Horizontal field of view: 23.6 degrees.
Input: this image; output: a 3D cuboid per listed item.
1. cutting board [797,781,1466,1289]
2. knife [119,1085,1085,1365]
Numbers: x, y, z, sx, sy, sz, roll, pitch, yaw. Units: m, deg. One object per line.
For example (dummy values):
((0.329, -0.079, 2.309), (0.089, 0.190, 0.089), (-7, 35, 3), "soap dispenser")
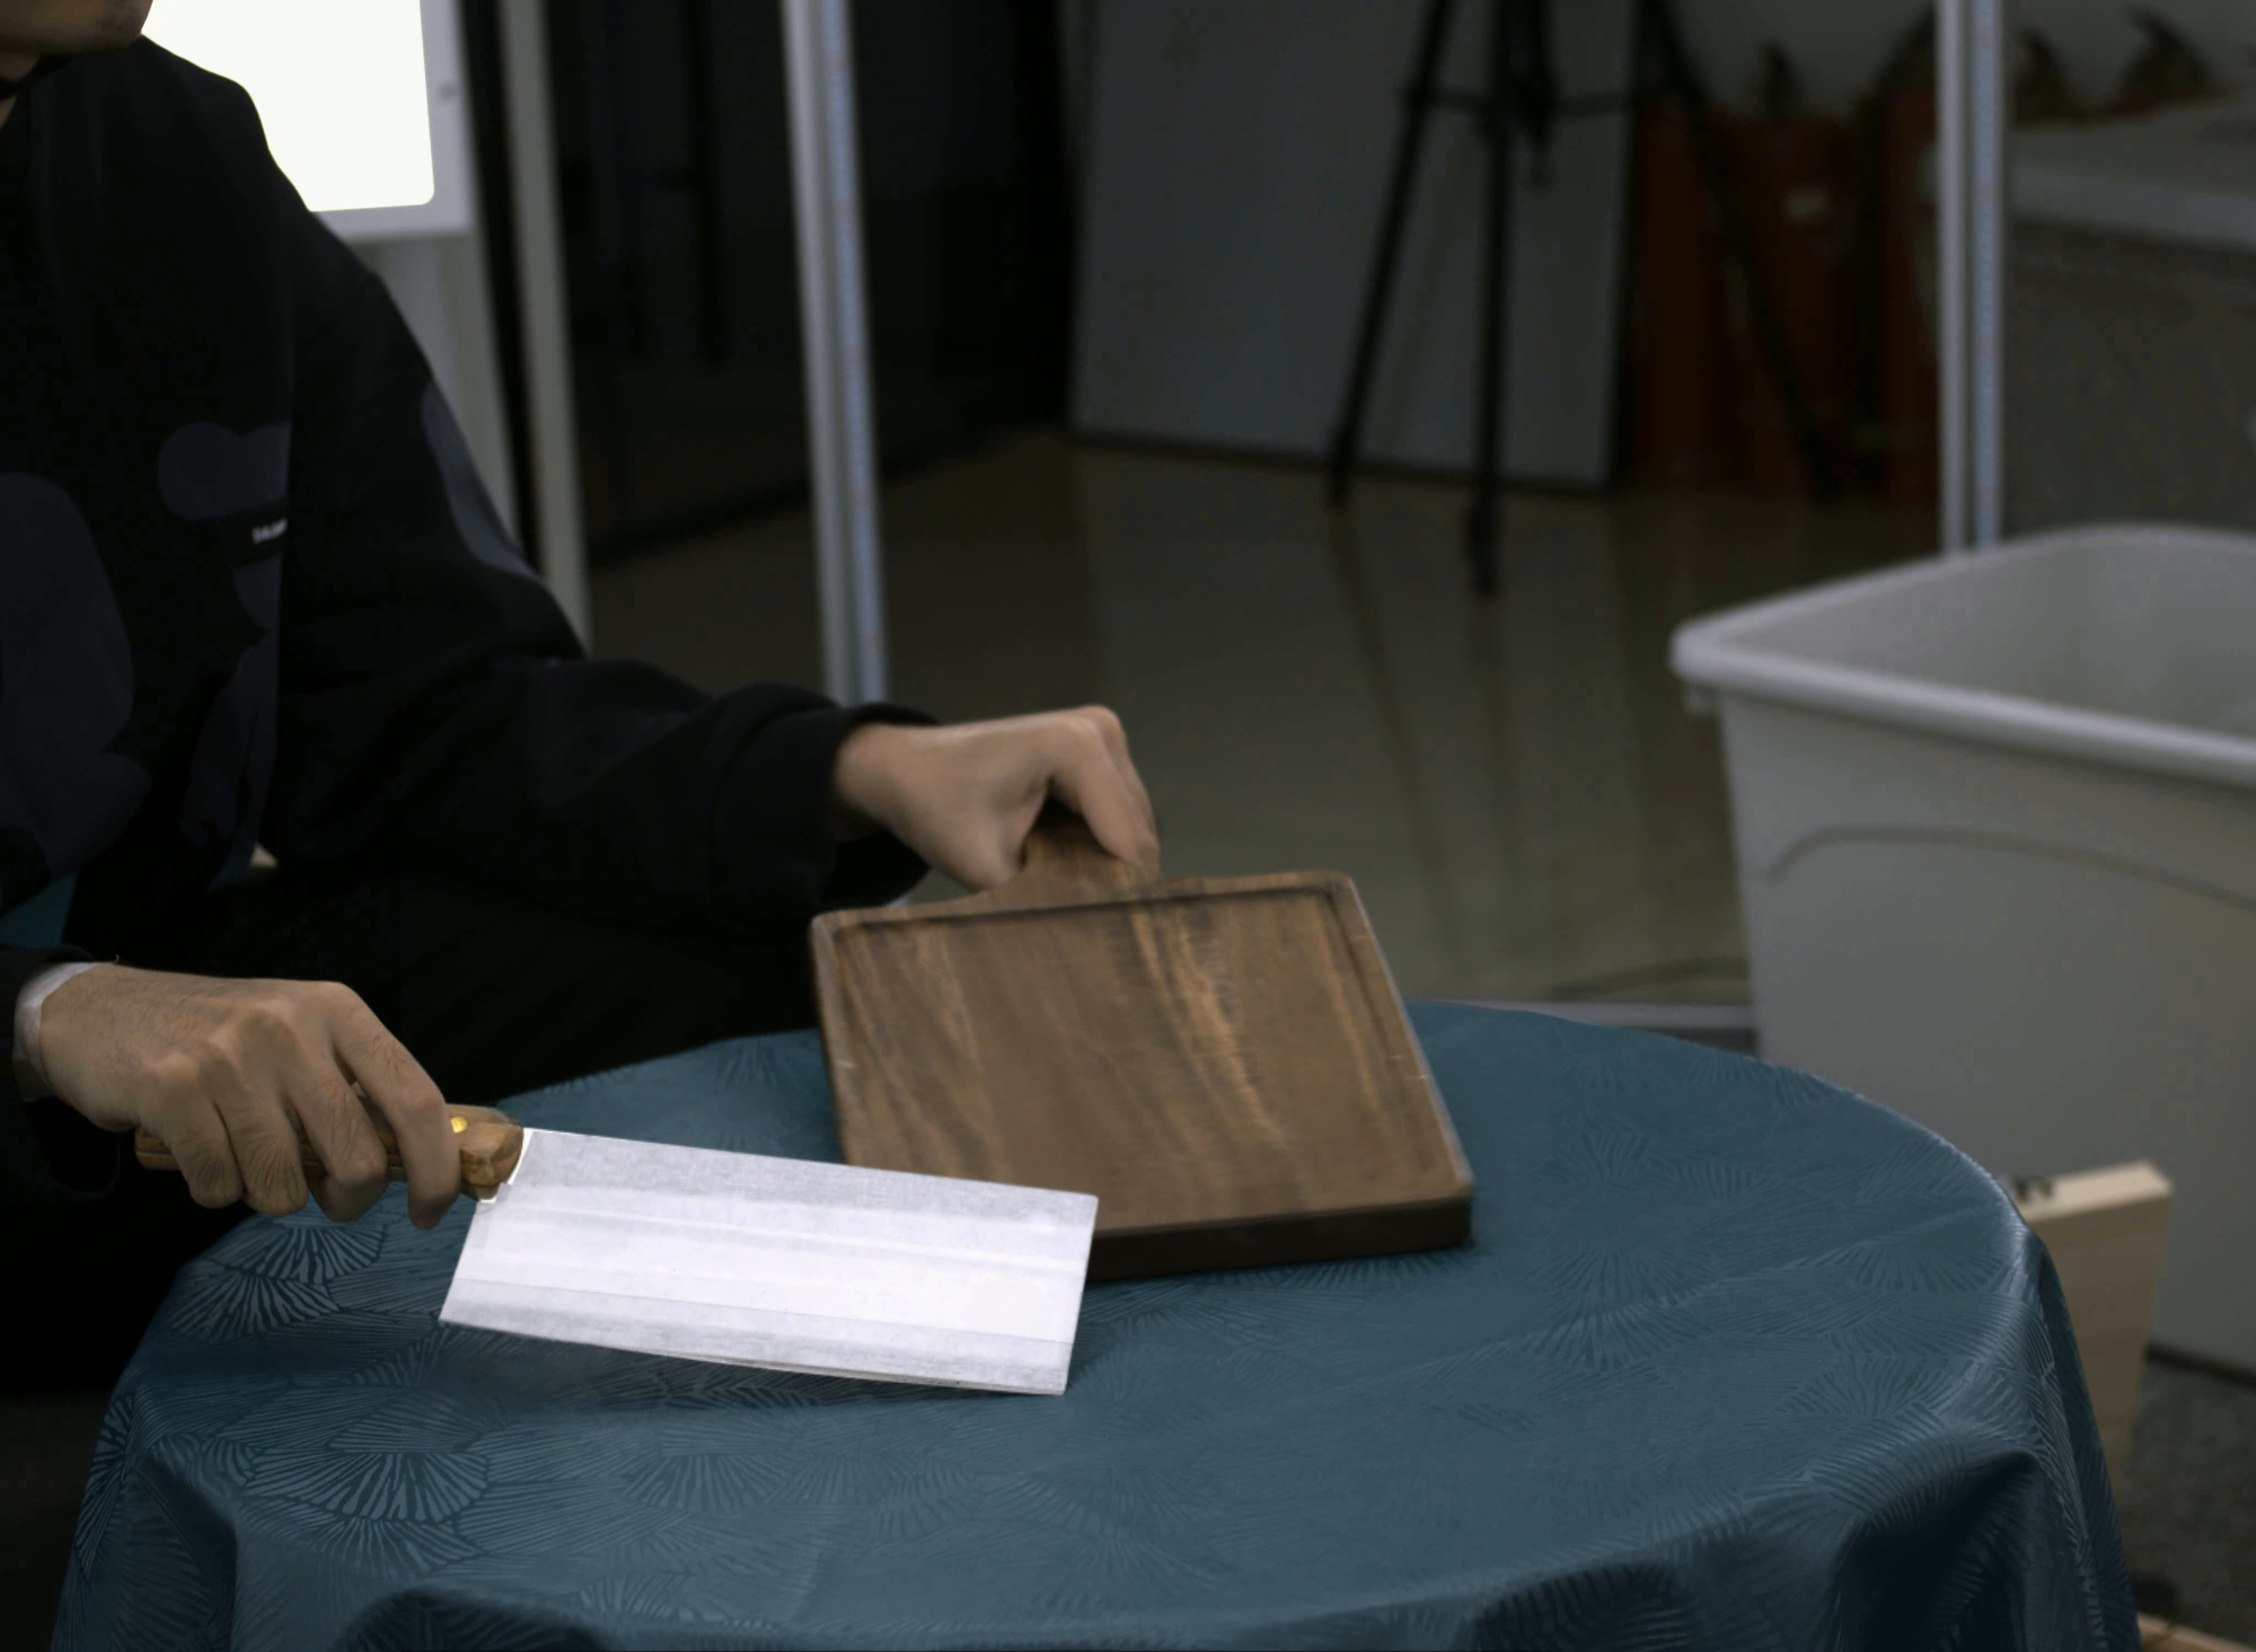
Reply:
((-0.010, 0.063, 1.839), (0.198, 0.023, 0.354), (-5, 24, -4), "cutting board")
((-0.162, 0.124, 1.636), (0.302, 0.021, 0.093), (6, 38, 5), "knife")
